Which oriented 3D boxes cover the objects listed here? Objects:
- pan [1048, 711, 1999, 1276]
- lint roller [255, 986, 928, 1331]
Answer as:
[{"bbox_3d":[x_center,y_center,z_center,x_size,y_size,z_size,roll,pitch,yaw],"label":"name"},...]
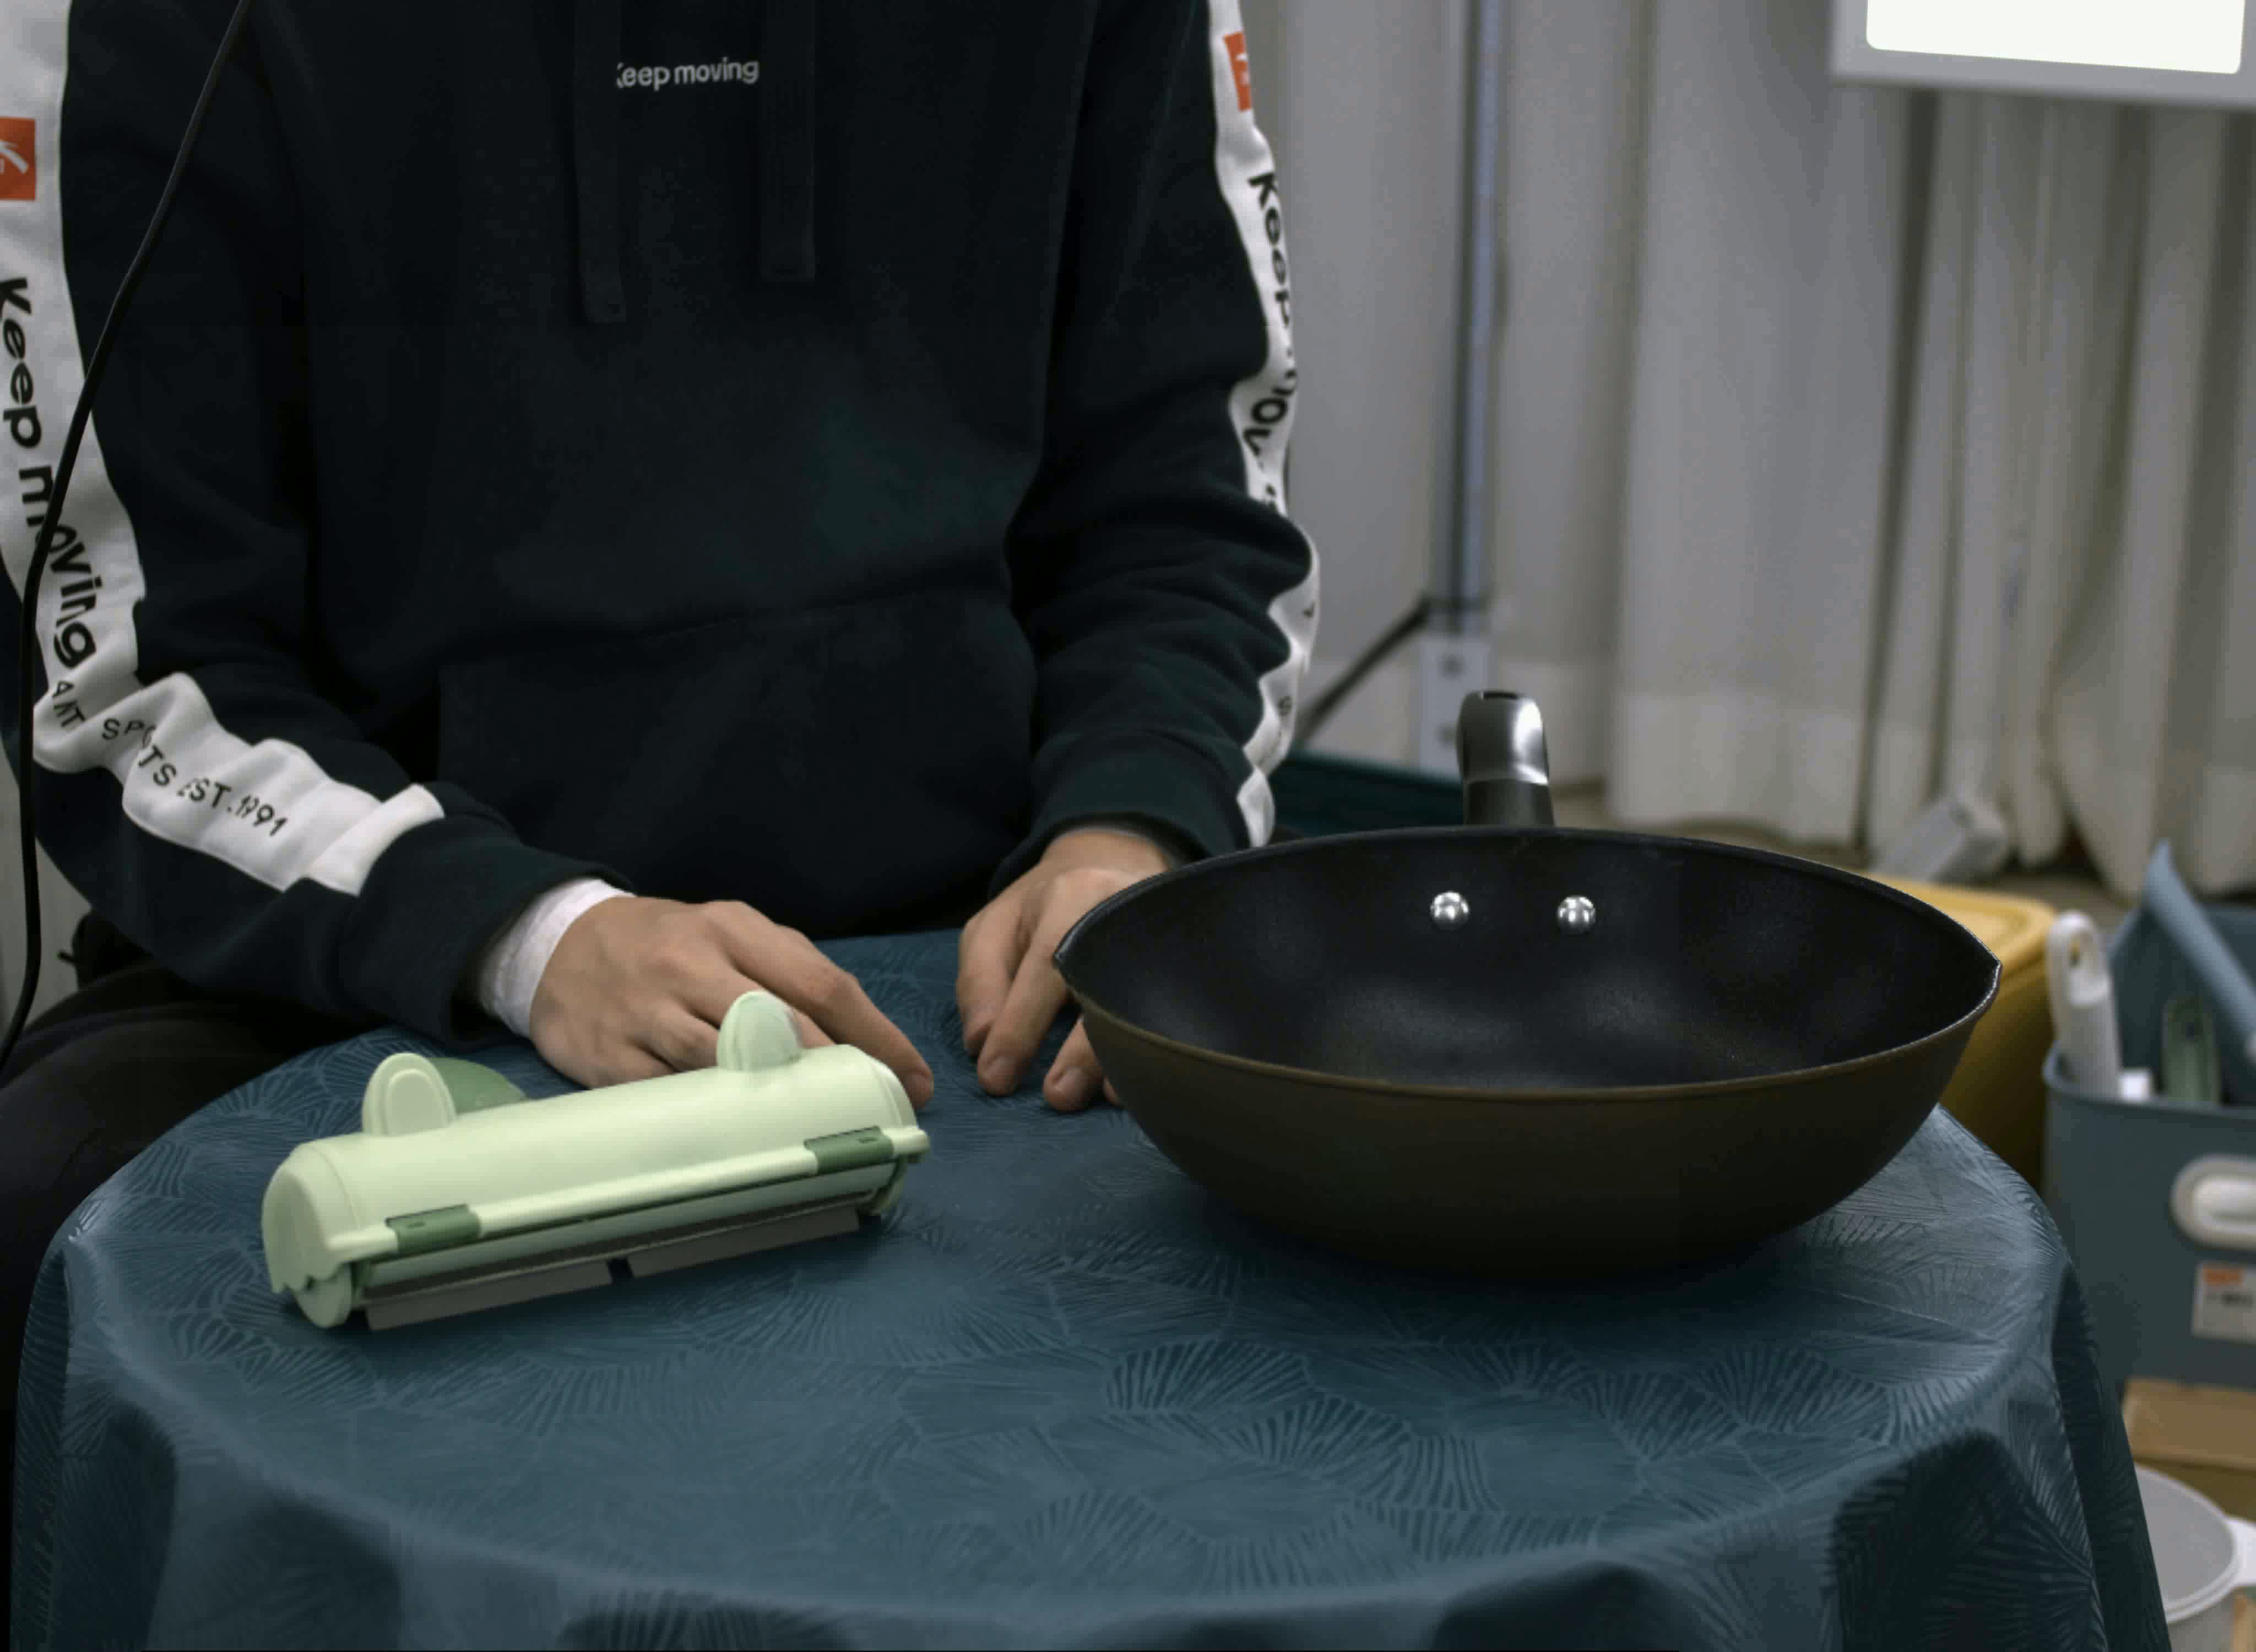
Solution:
[{"bbox_3d":[0.121,0.051,1.688,0.287,0.087,0.461,1,14,1],"label":"pan"},{"bbox_3d":[-0.185,0.081,1.586,0.199,0.083,0.181,-10,24,-31],"label":"lint roller"}]
